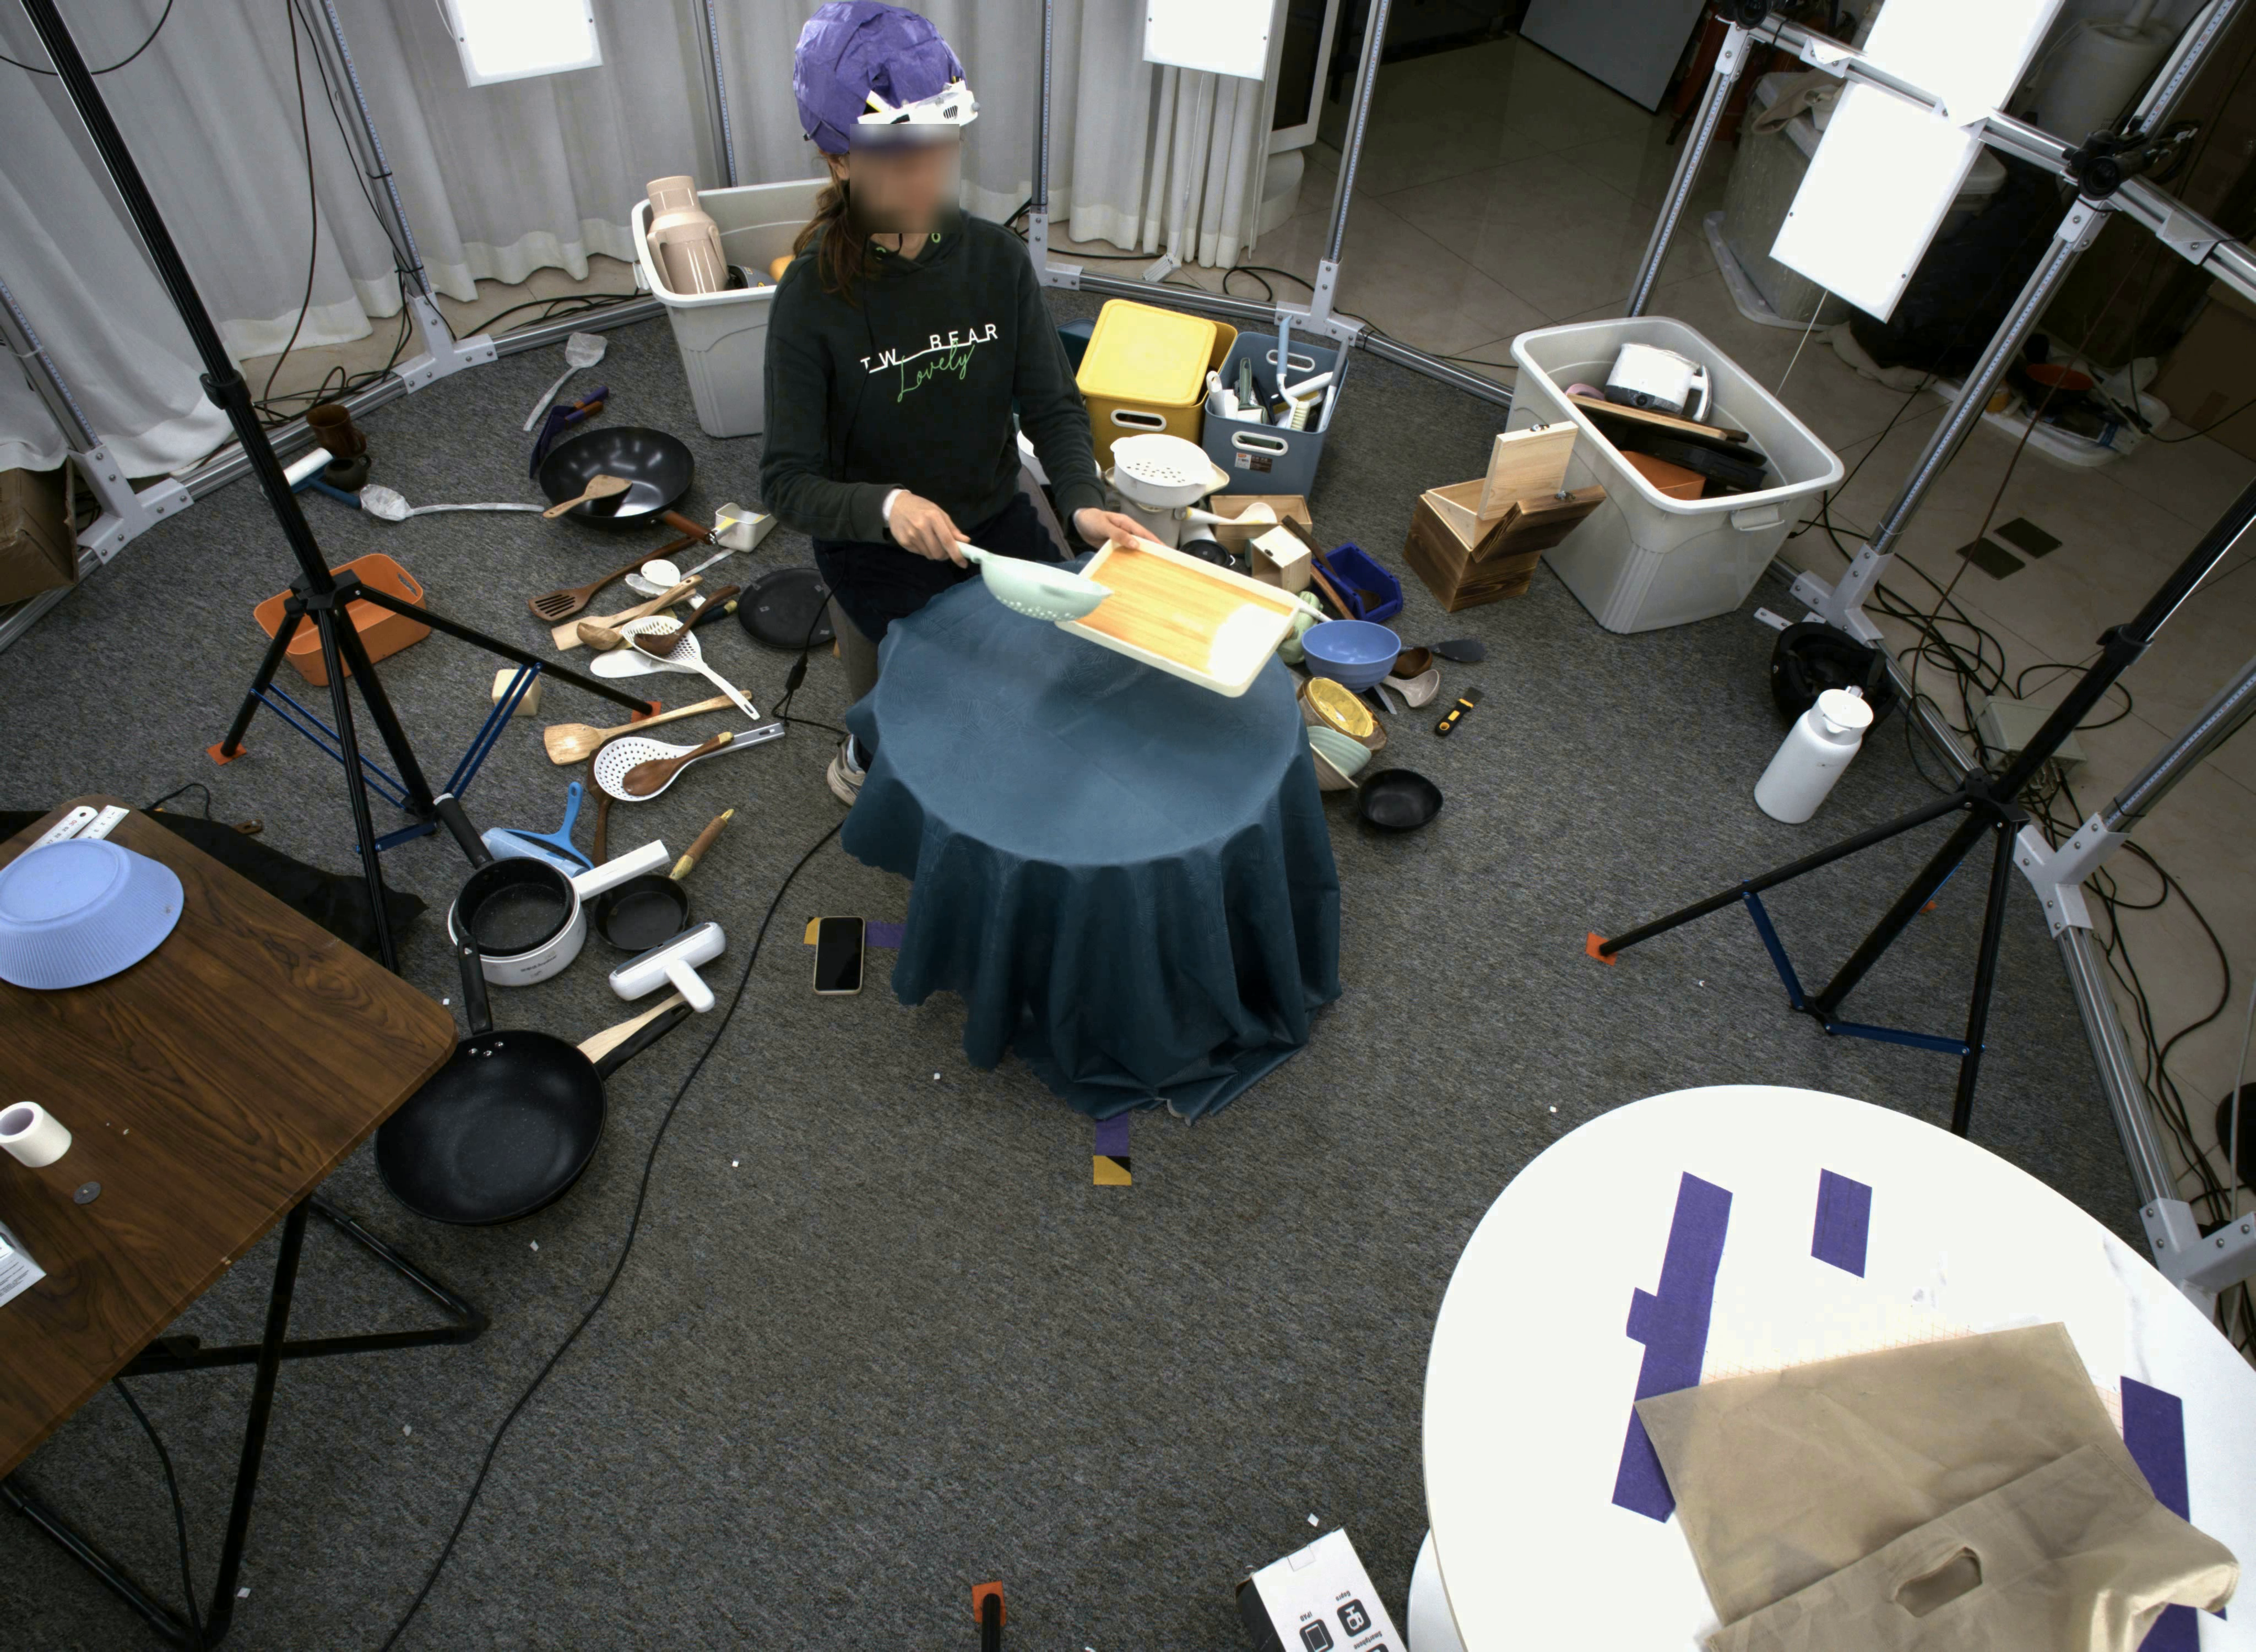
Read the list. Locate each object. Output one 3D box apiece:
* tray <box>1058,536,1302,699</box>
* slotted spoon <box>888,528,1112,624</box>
[{"bbox_3d":[0.070,-0.294,1.784,0.303,0.027,0.194,25,59,21],"label":"tray"},{"bbox_3d":[-0.190,-0.350,1.732,0.364,0.074,0.169,33,21,28],"label":"slotted spoon"}]
